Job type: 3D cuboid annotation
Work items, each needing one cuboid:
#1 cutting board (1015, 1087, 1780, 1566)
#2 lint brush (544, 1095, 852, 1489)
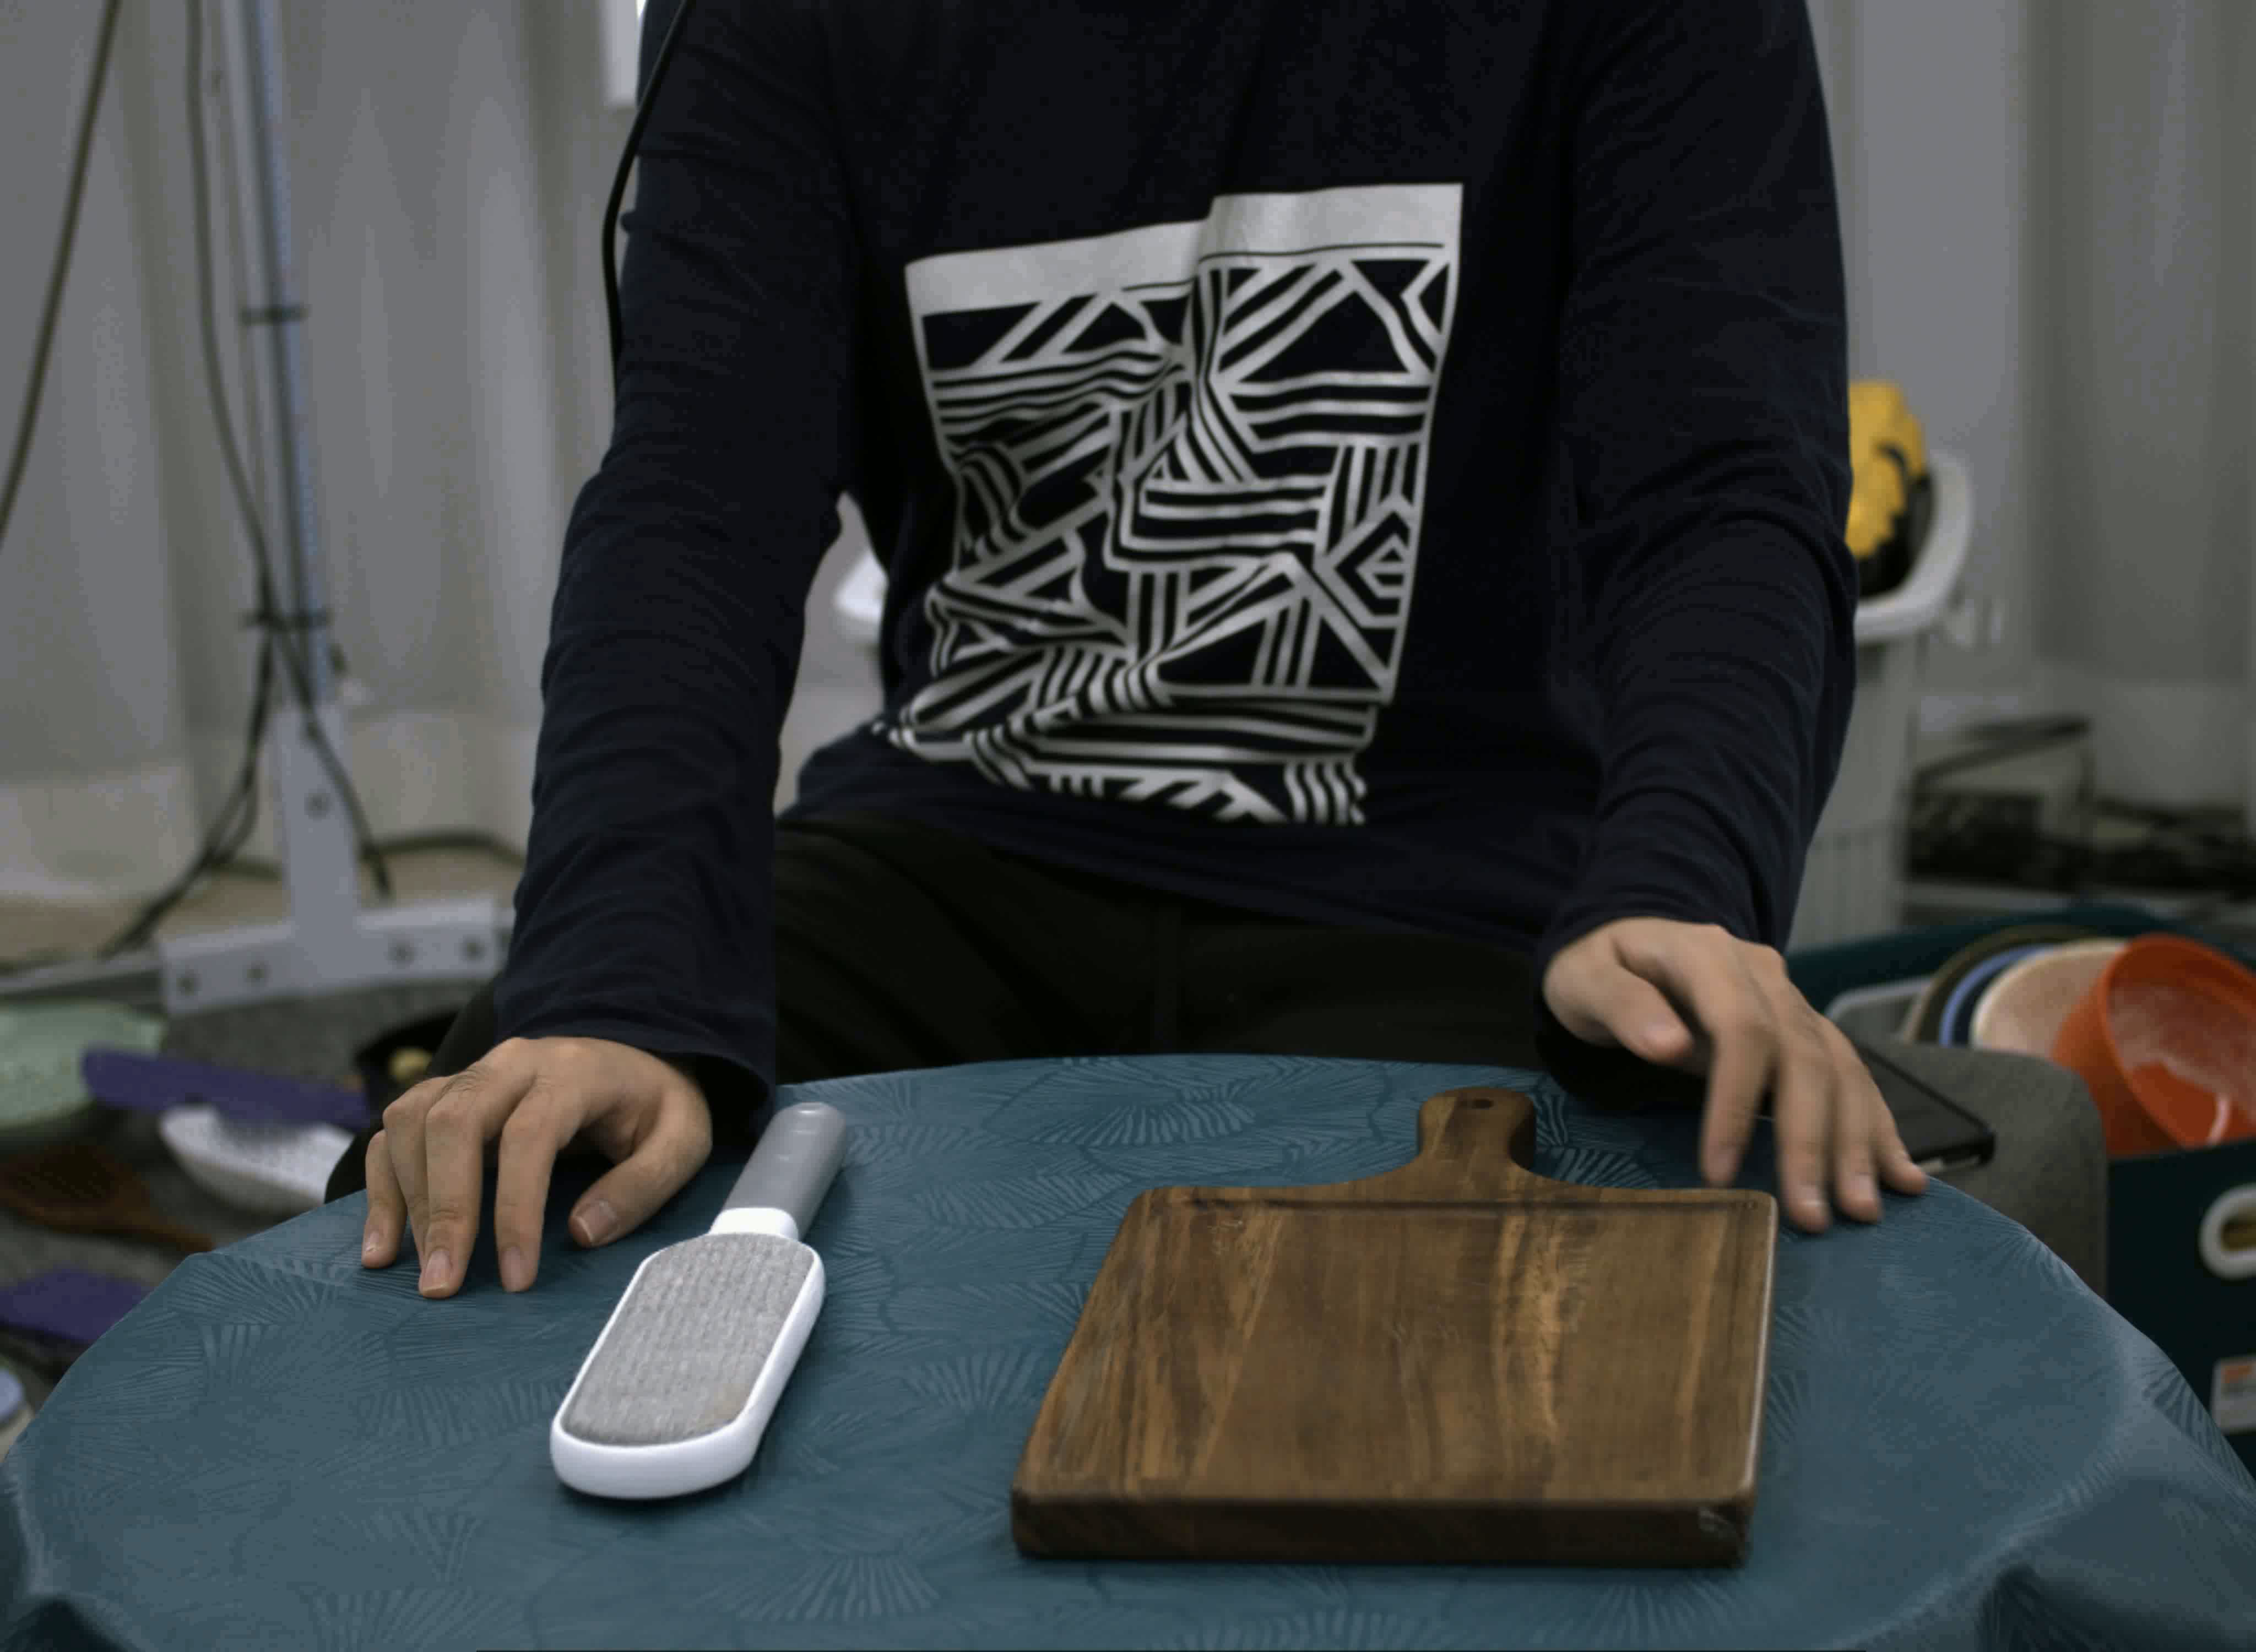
[{"bbox_3d":[0.088,0.138,1.577,0.200,0.023,0.354,-1,15,8],"label":"cutting board"},{"bbox_3d":[-0.116,0.133,1.617,0.060,0.021,0.310,-6,14,8],"label":"lint brush"}]
